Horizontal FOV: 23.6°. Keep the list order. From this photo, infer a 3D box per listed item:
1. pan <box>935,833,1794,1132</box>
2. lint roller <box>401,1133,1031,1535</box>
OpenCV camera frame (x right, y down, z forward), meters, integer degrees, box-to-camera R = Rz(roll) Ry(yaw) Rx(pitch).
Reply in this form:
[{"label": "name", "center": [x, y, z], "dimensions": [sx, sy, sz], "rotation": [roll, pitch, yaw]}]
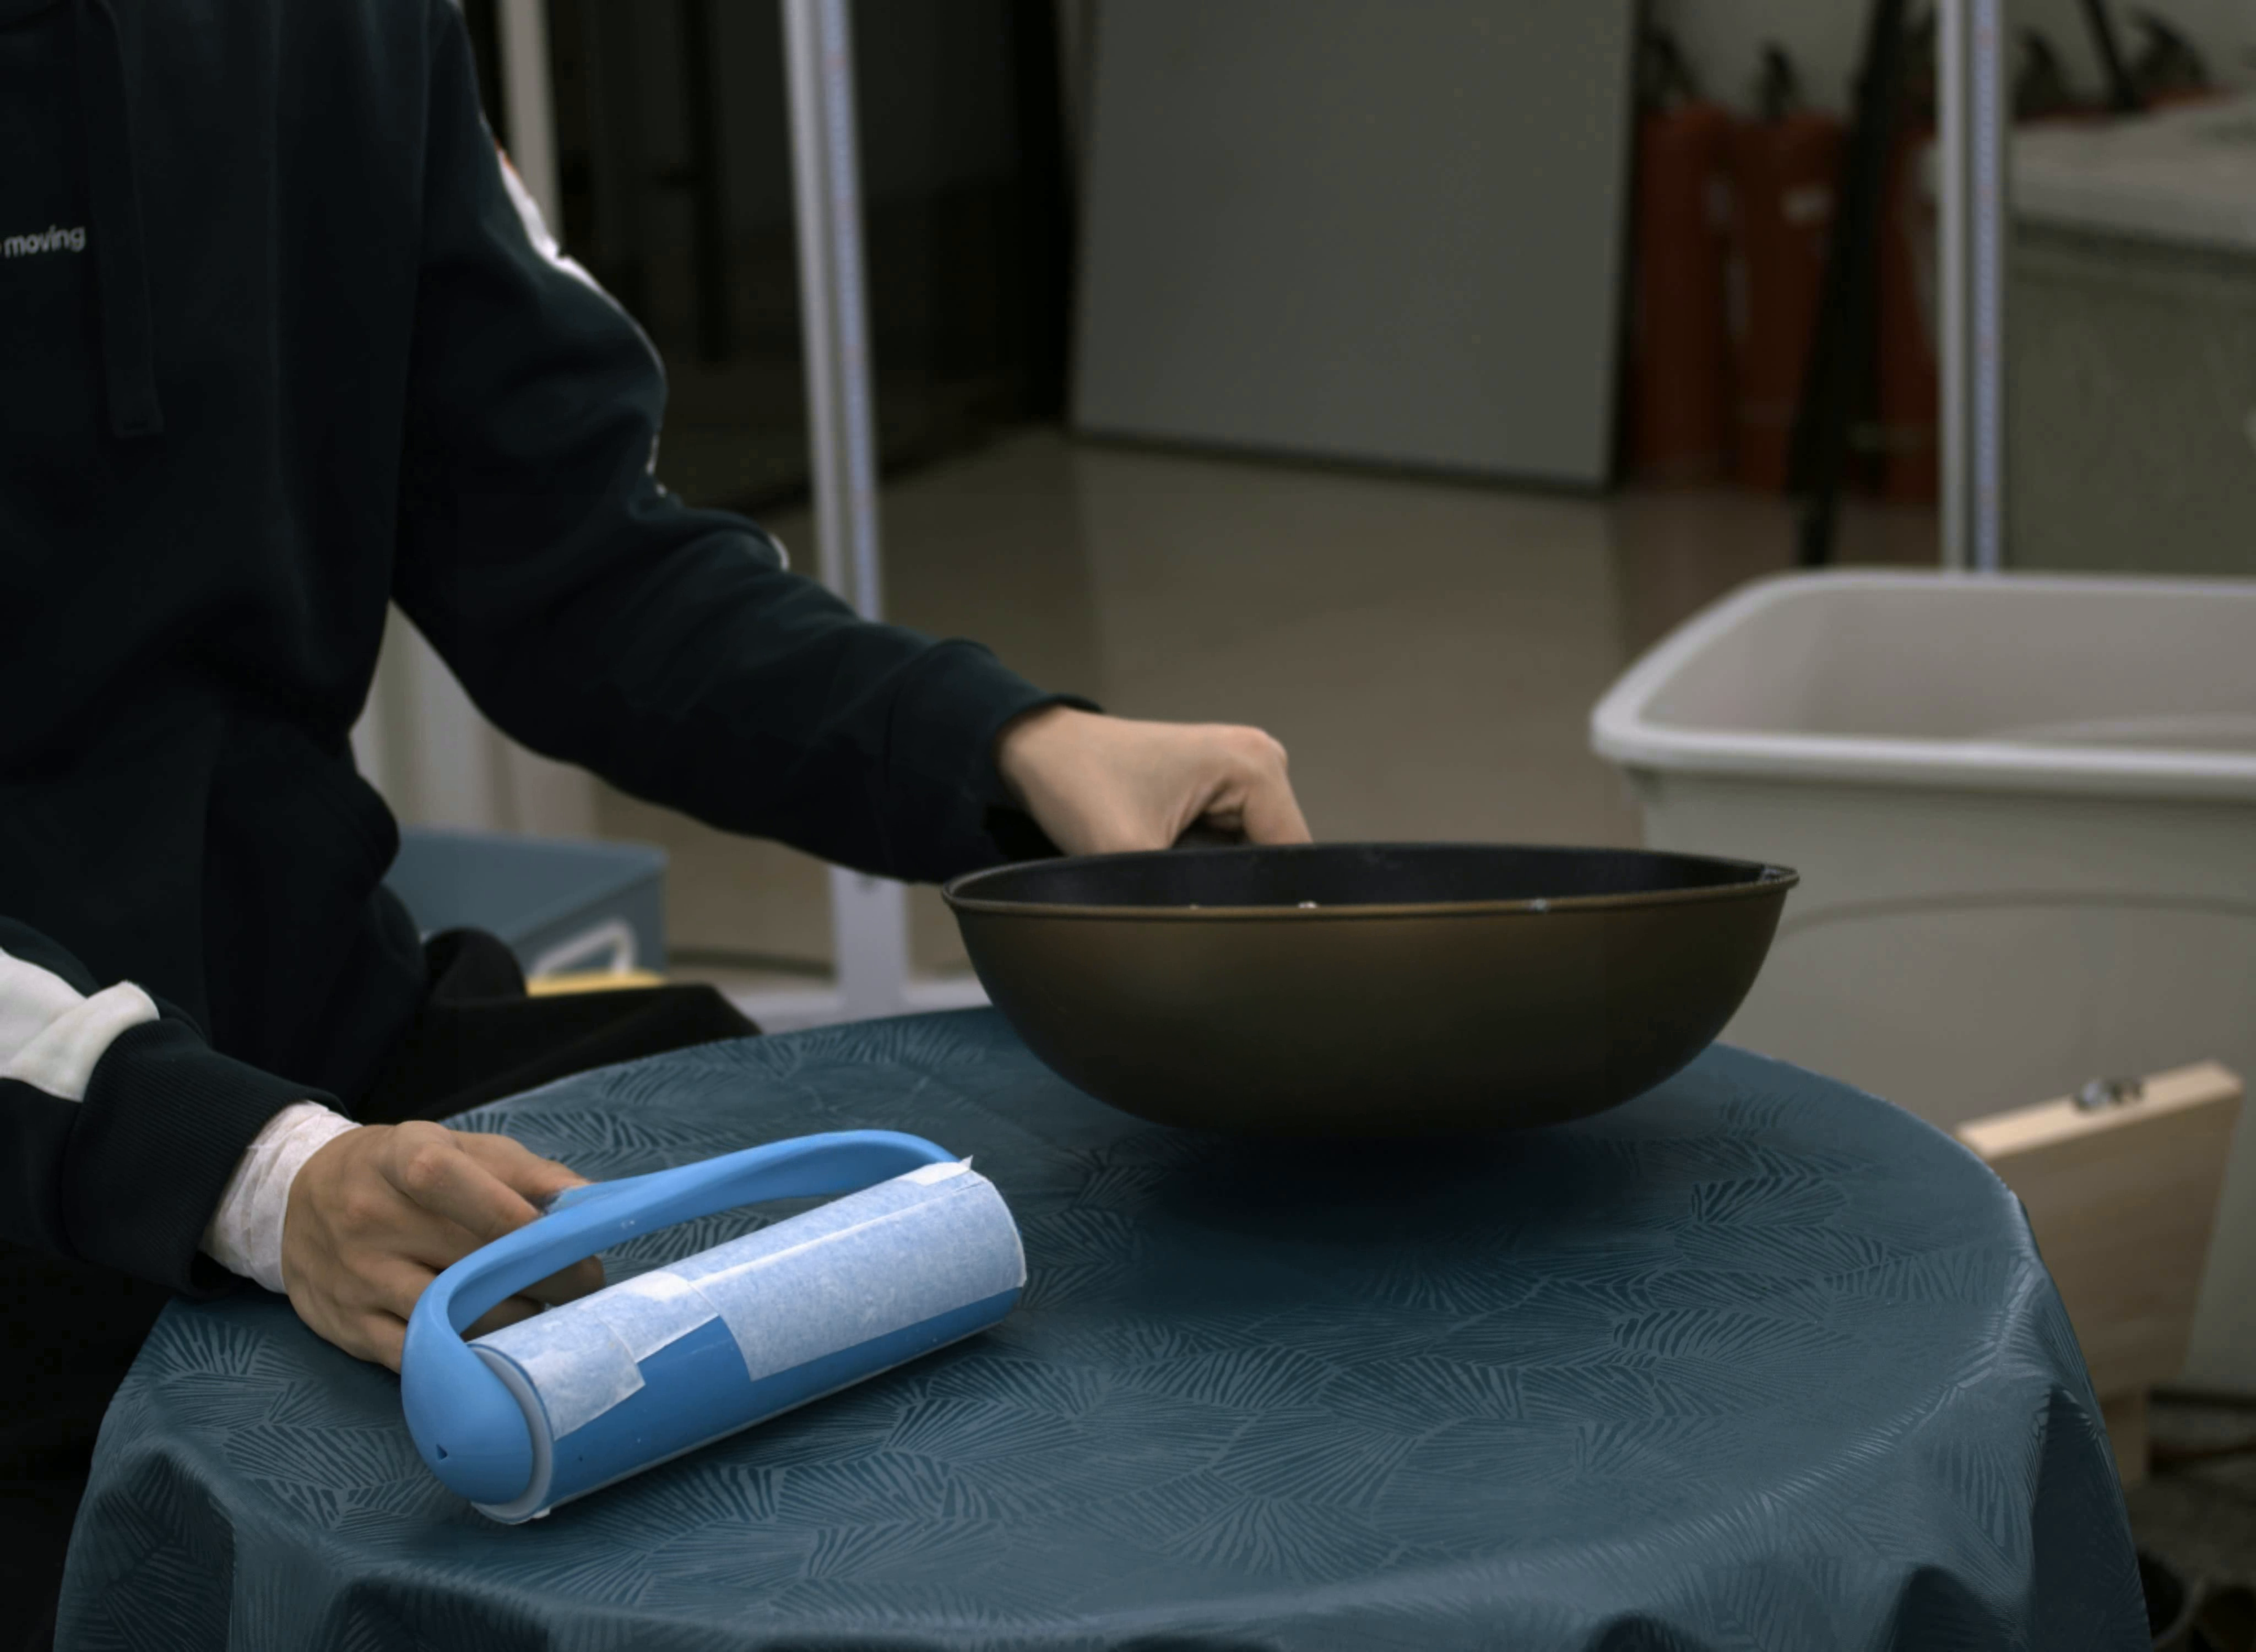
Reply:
[{"label": "pan", "center": [0.053, 0.050, 1.850], "dimensions": [0.282, 0.088, 0.466], "rotation": [-2, 2, -15]}, {"label": "lint roller", "center": [-0.156, 0.143, 1.615], "dimensions": [0.181, 0.068, 0.225], "rotation": [8, 20, 39]}]
